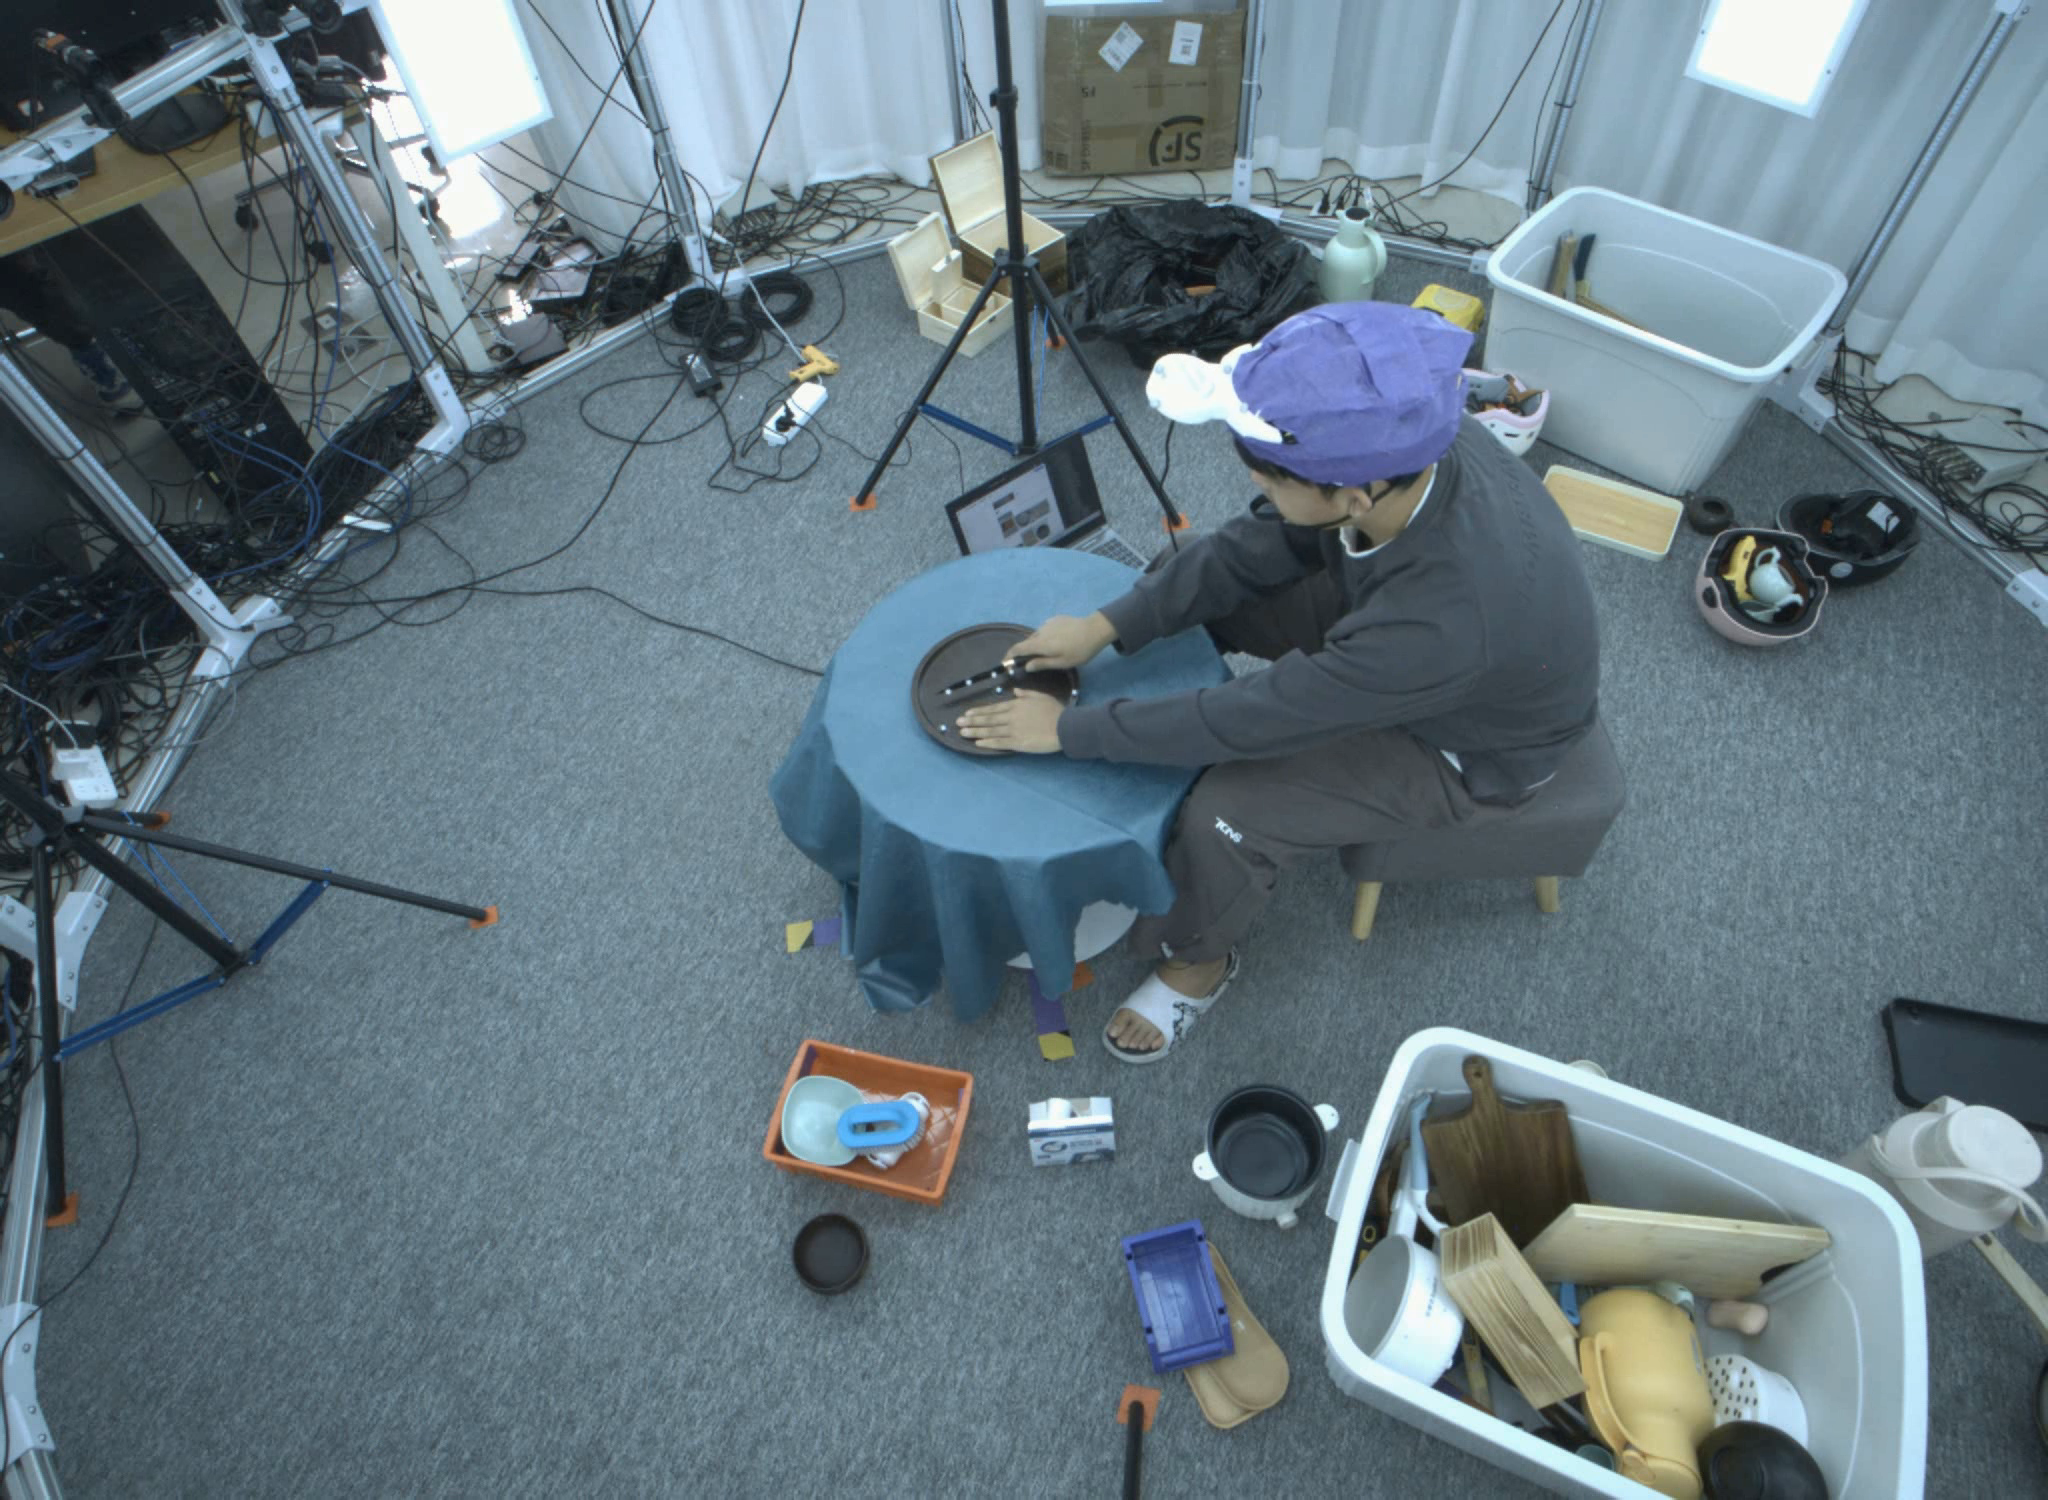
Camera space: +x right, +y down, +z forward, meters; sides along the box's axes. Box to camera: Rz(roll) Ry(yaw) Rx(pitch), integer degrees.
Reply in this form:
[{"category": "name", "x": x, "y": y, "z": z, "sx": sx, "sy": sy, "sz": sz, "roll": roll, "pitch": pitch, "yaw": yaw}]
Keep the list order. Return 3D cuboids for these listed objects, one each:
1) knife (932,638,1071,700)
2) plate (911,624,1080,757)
[{"category": "knife", "x": -0.033, "y": -0.121, "z": 1.832, "sx": 0.227, "sy": 0.026, "sz": 0.017, "roll": -23, "pitch": 64, "yaw": -9}, {"category": "plate", "x": -0.043, "y": -0.091, "z": 1.839, "sx": 0.255, "sy": 0.029, "sz": 0.252, "roll": 1, "pitch": 54, "yaw": 1}]
